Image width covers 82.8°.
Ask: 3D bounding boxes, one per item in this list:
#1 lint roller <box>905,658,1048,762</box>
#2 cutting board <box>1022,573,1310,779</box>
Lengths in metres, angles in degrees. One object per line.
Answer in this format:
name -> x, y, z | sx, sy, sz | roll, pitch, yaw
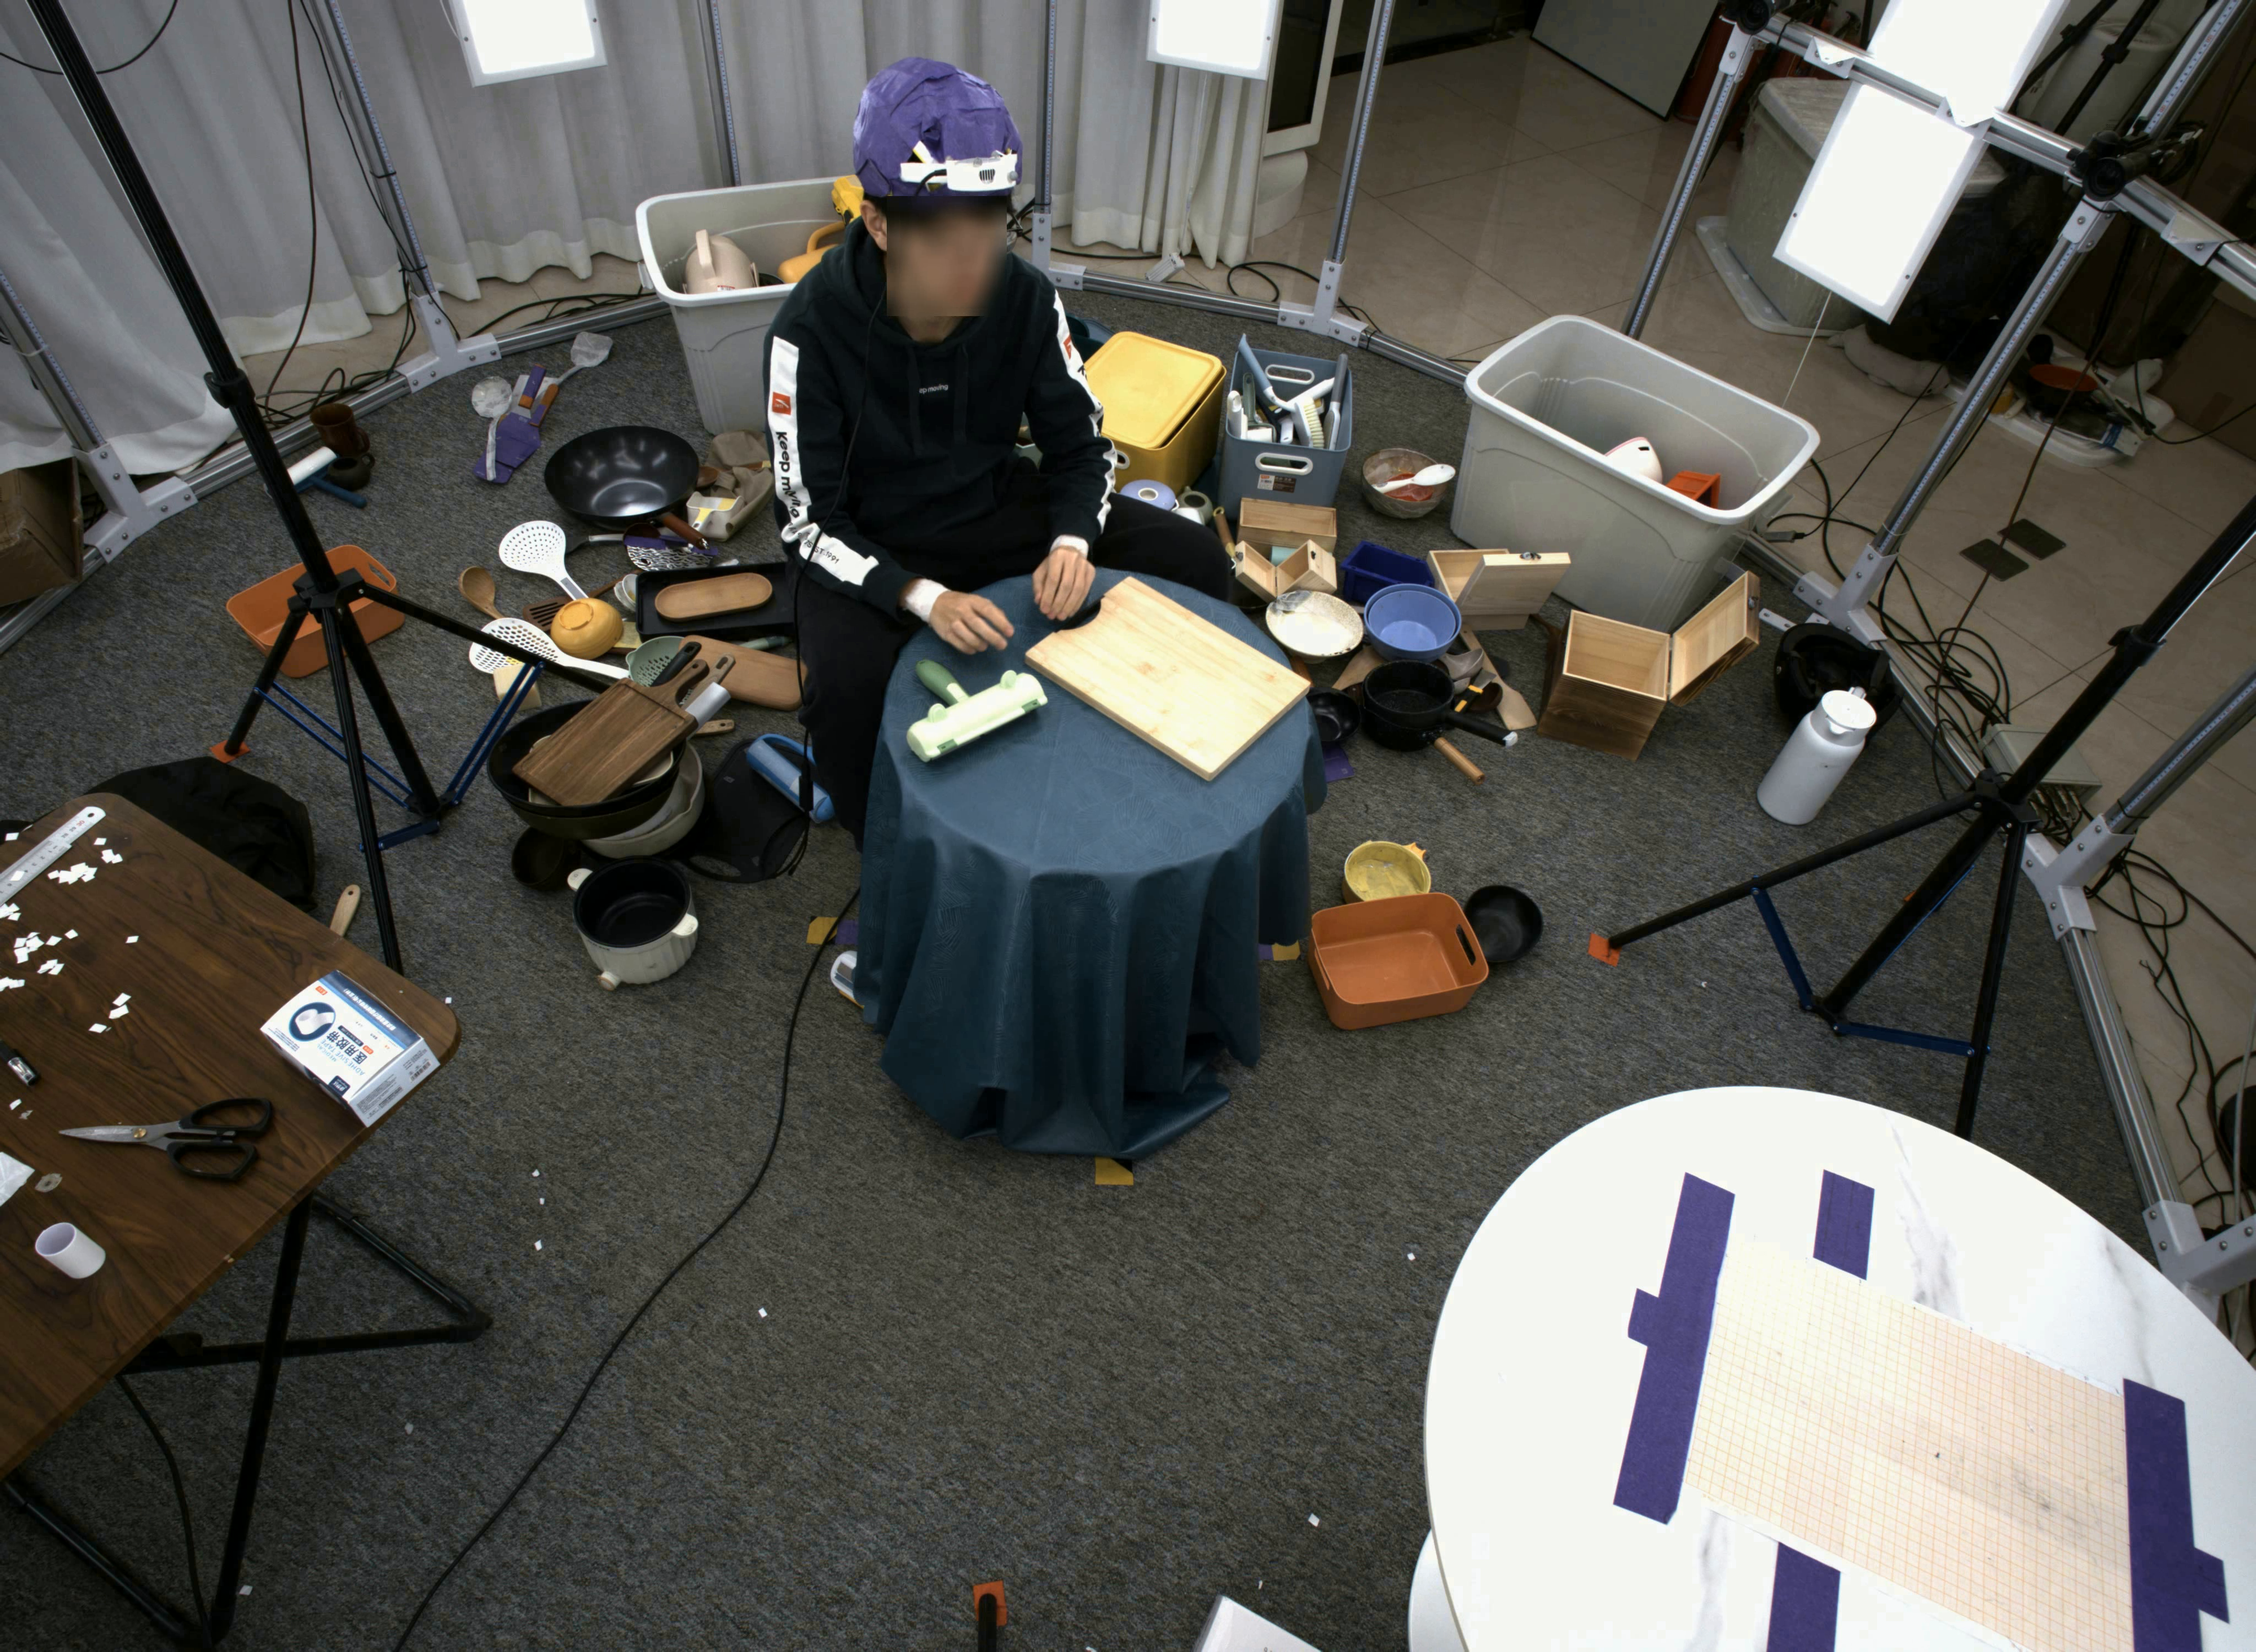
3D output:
lint roller -> -0.238, -0.191, 1.768 | 0.200, 0.080, 0.186 | -28, 61, -25
cutting board -> 0.054, -0.224, 1.856 | 0.353, 0.023, 0.253 | 33, 55, 23
